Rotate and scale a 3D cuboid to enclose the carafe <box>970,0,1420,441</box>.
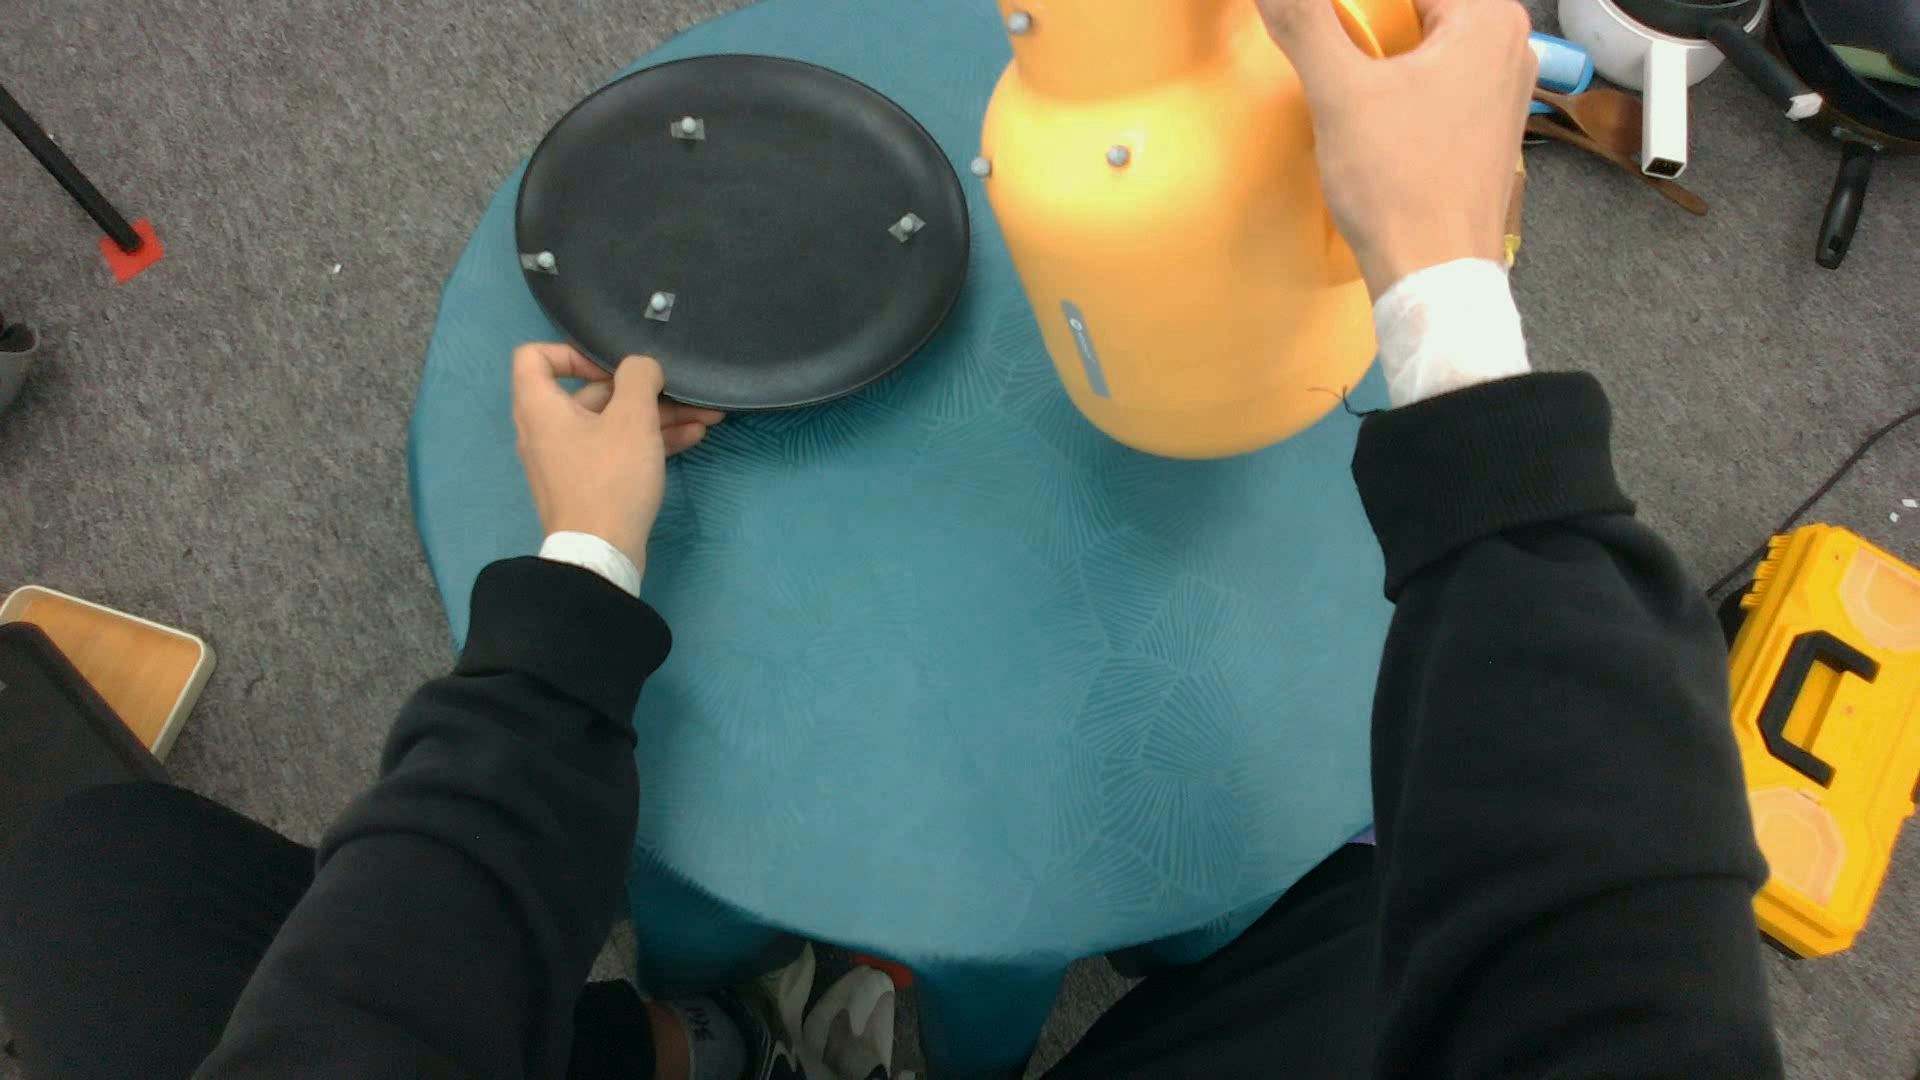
[{"bbox_3d":[0.100,-0.167,0.589,0.202,0.260,0.164,25,69,41],"label":"carafe"}]

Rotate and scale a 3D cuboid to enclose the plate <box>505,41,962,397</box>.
[{"bbox_3d":[-0.121,-0.177,0.753,0.244,0.023,0.245,3,62,-6],"label":"plate"}]
